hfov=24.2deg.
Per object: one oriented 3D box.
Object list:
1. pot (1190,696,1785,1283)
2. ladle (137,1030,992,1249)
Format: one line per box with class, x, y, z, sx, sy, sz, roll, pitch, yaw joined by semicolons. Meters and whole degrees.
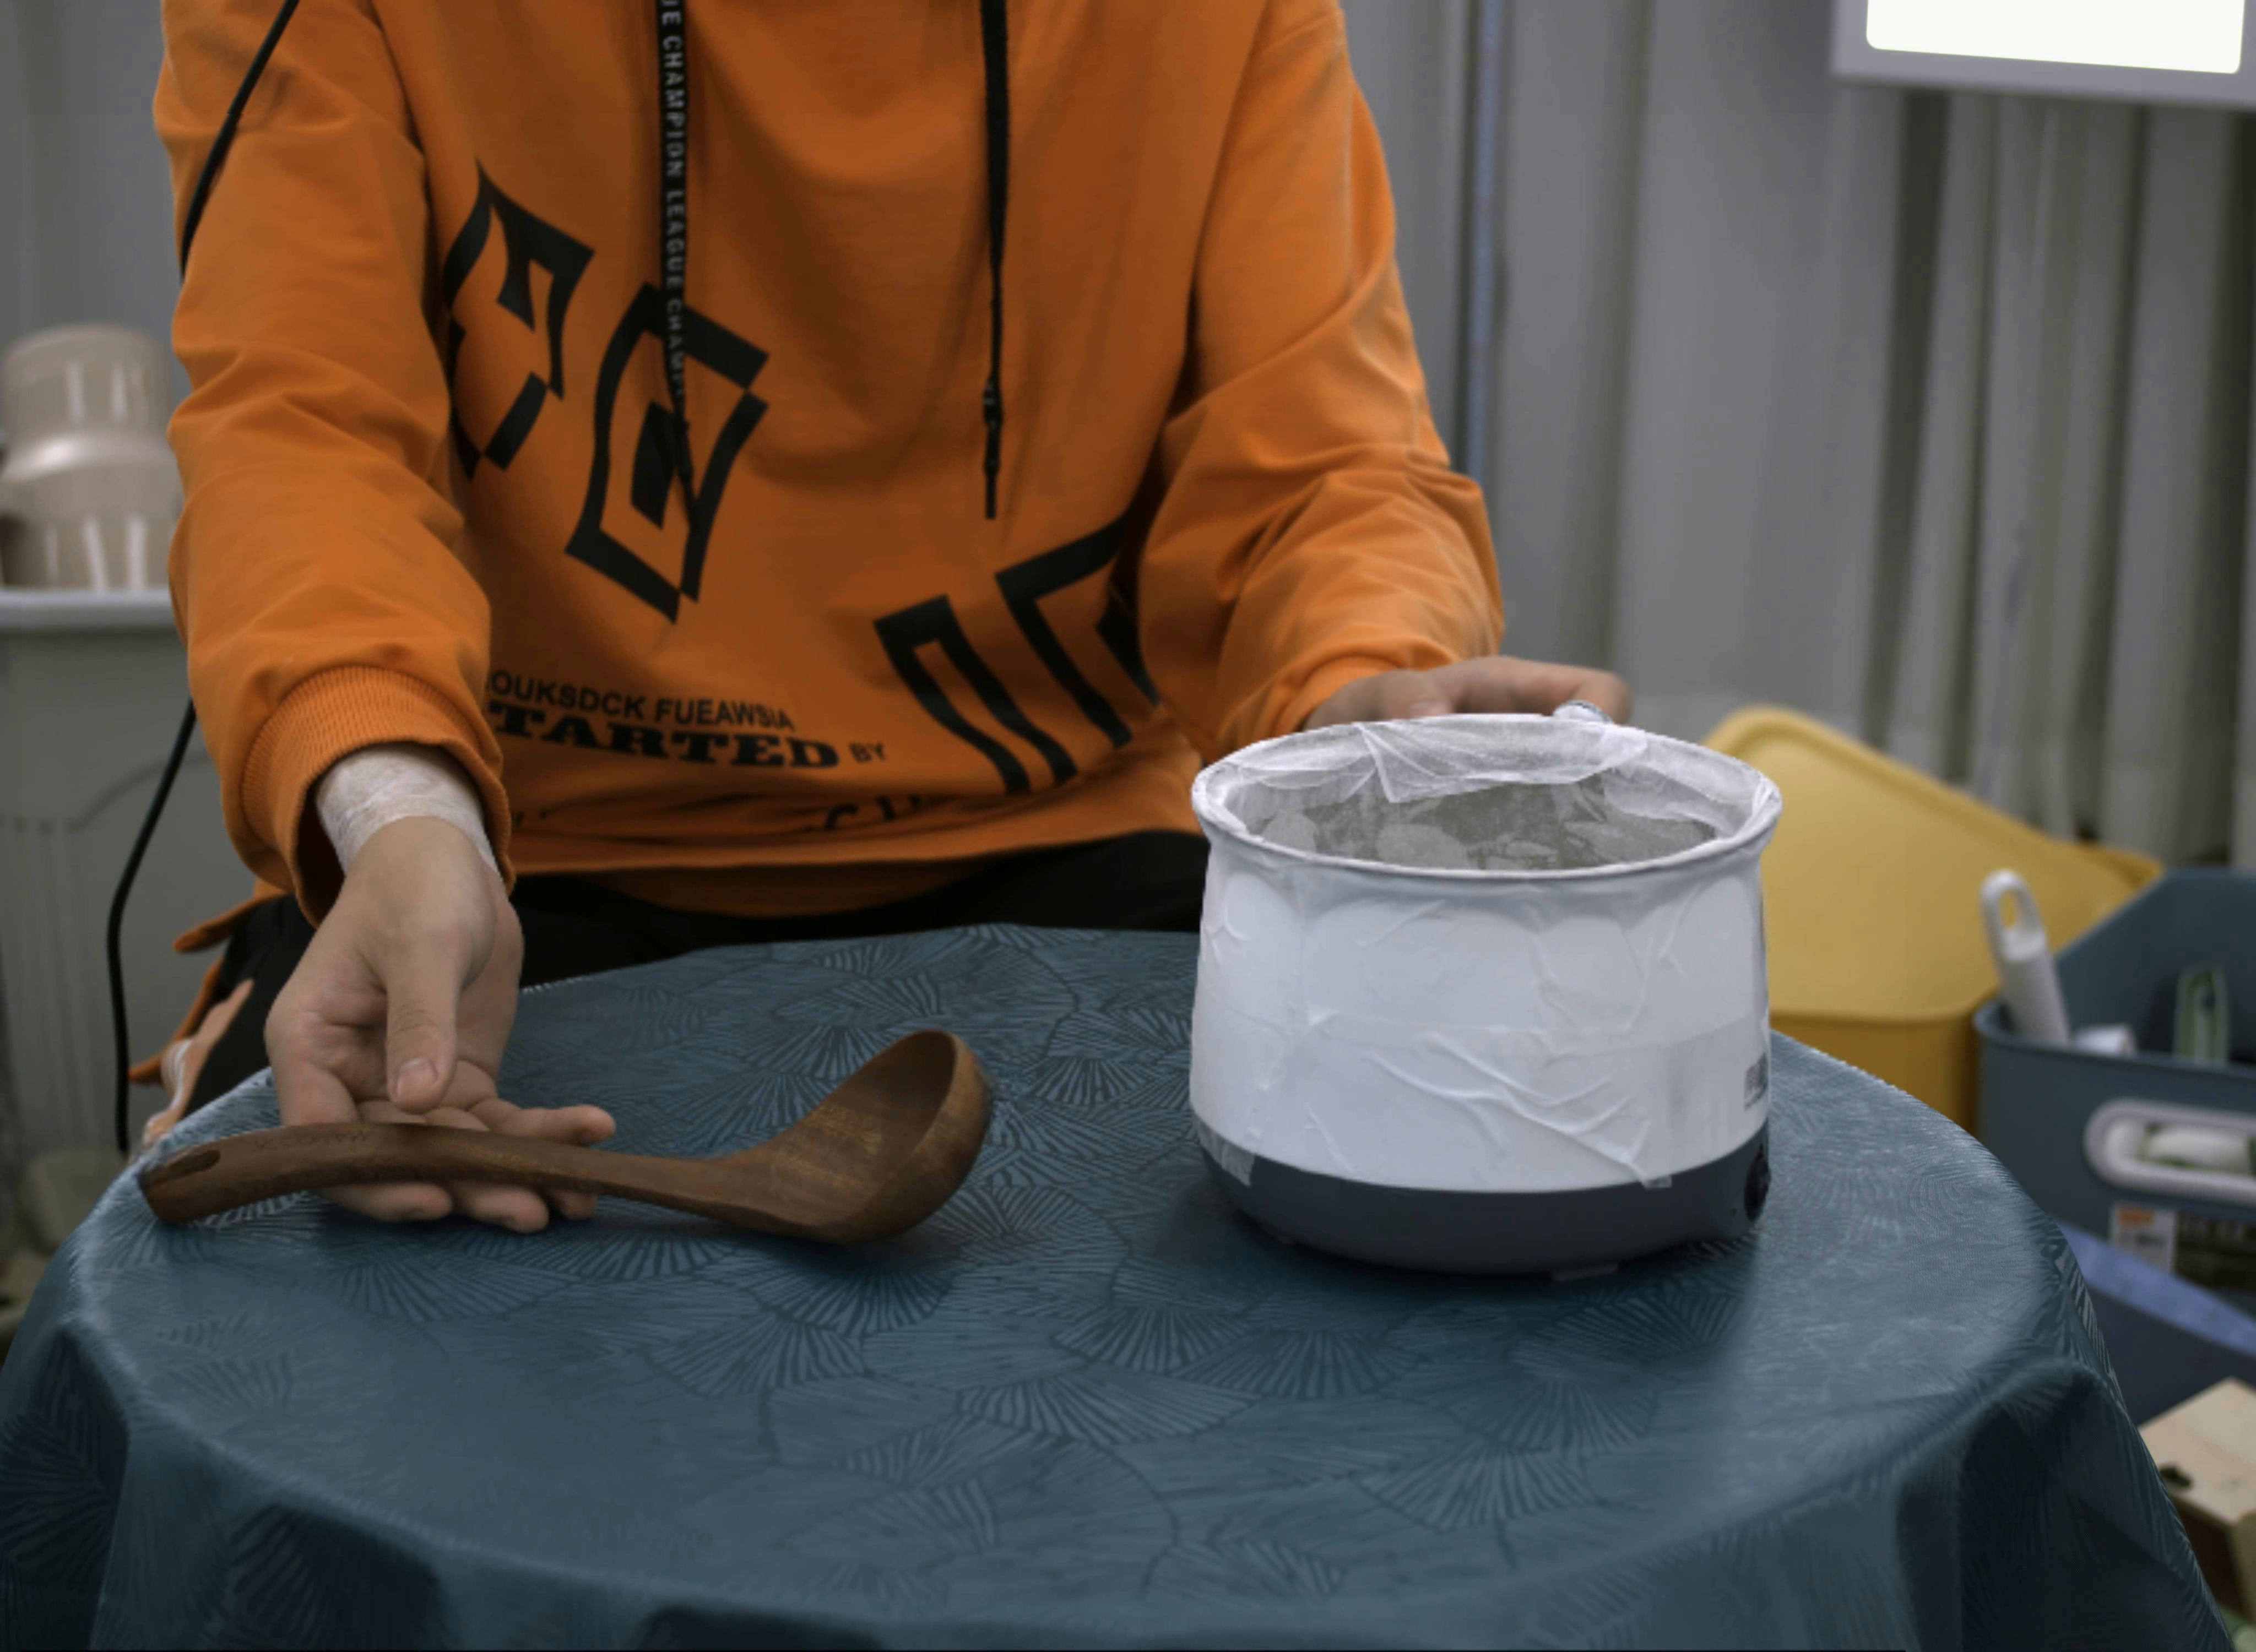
pot;0.116;0.043;1.617;0.177;0.138;0.234;6;17;18
ladle;-0.170;0.092;1.572;0.259;0.066;0.076;2;30;2
